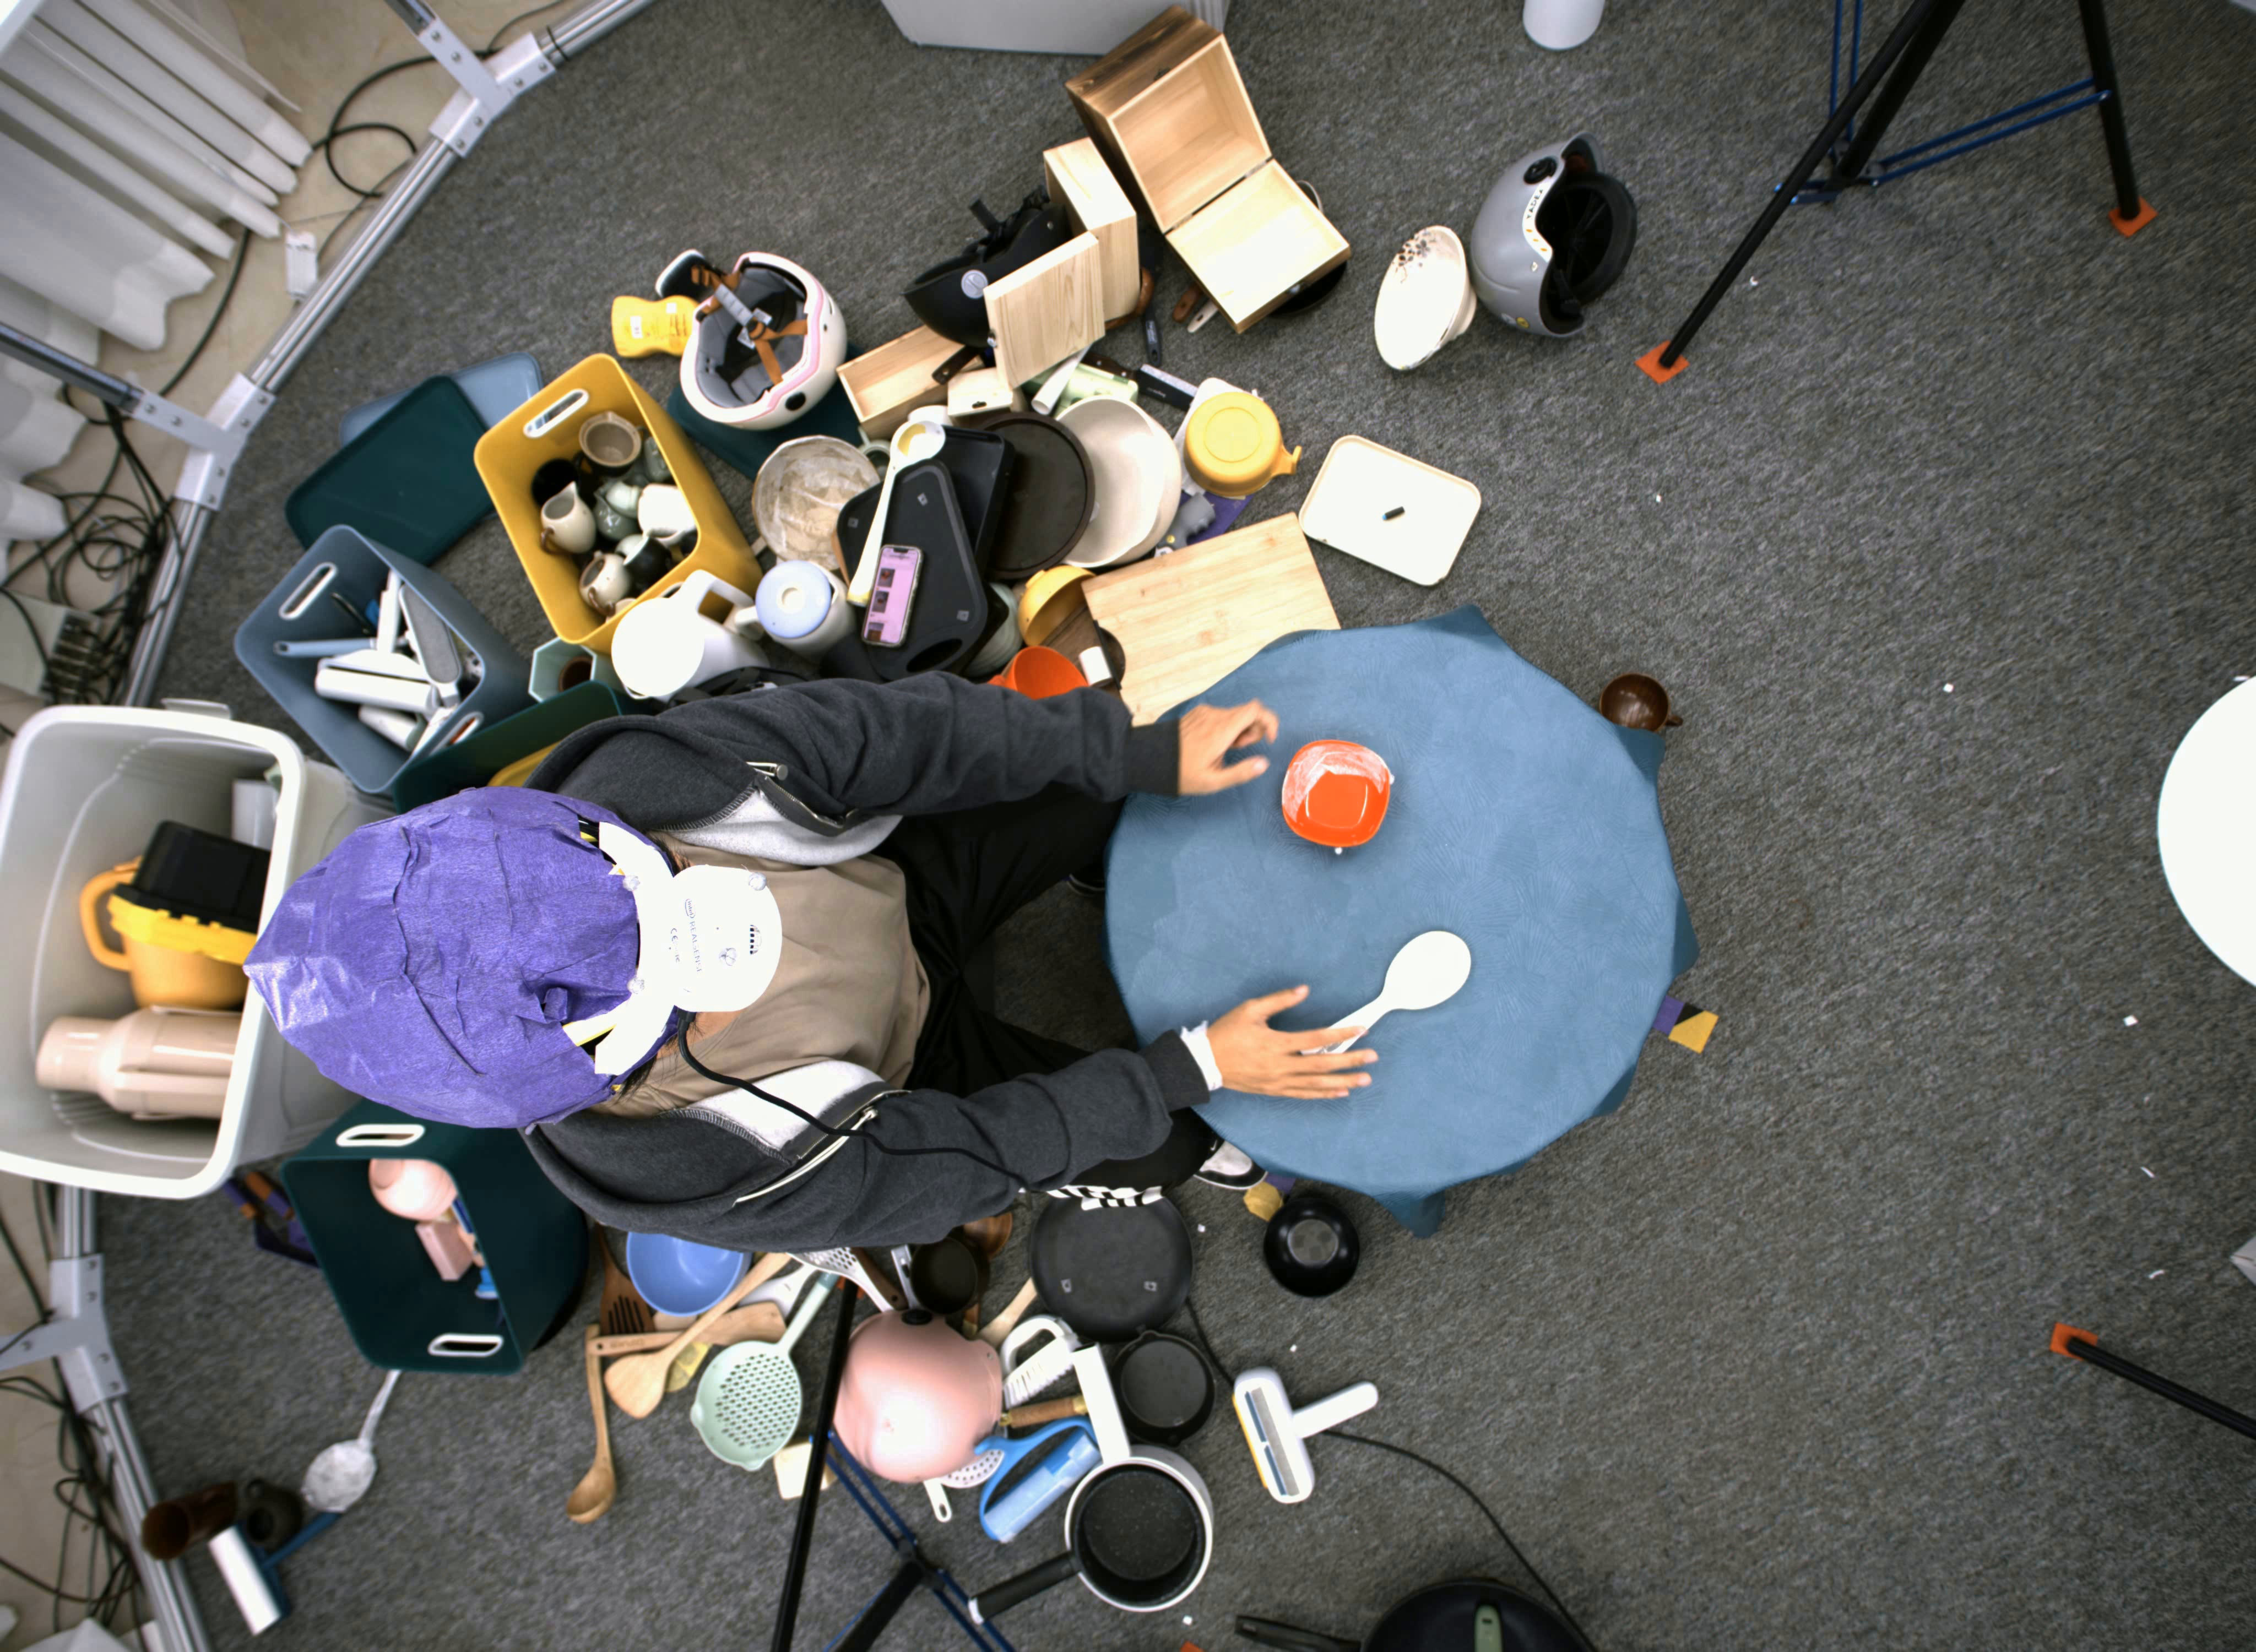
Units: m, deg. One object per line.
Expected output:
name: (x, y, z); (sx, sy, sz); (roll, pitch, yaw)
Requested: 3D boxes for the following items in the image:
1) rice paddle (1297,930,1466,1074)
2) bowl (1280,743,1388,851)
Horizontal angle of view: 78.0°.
rice paddle: (0.265, 0.182, 1.439); (0.206, 0.029, 0.068); (-39, 82, 6)
bowl: (0.216, -0.029, 1.445); (0.119, 0.051, 0.118); (-1, 88, 10)
